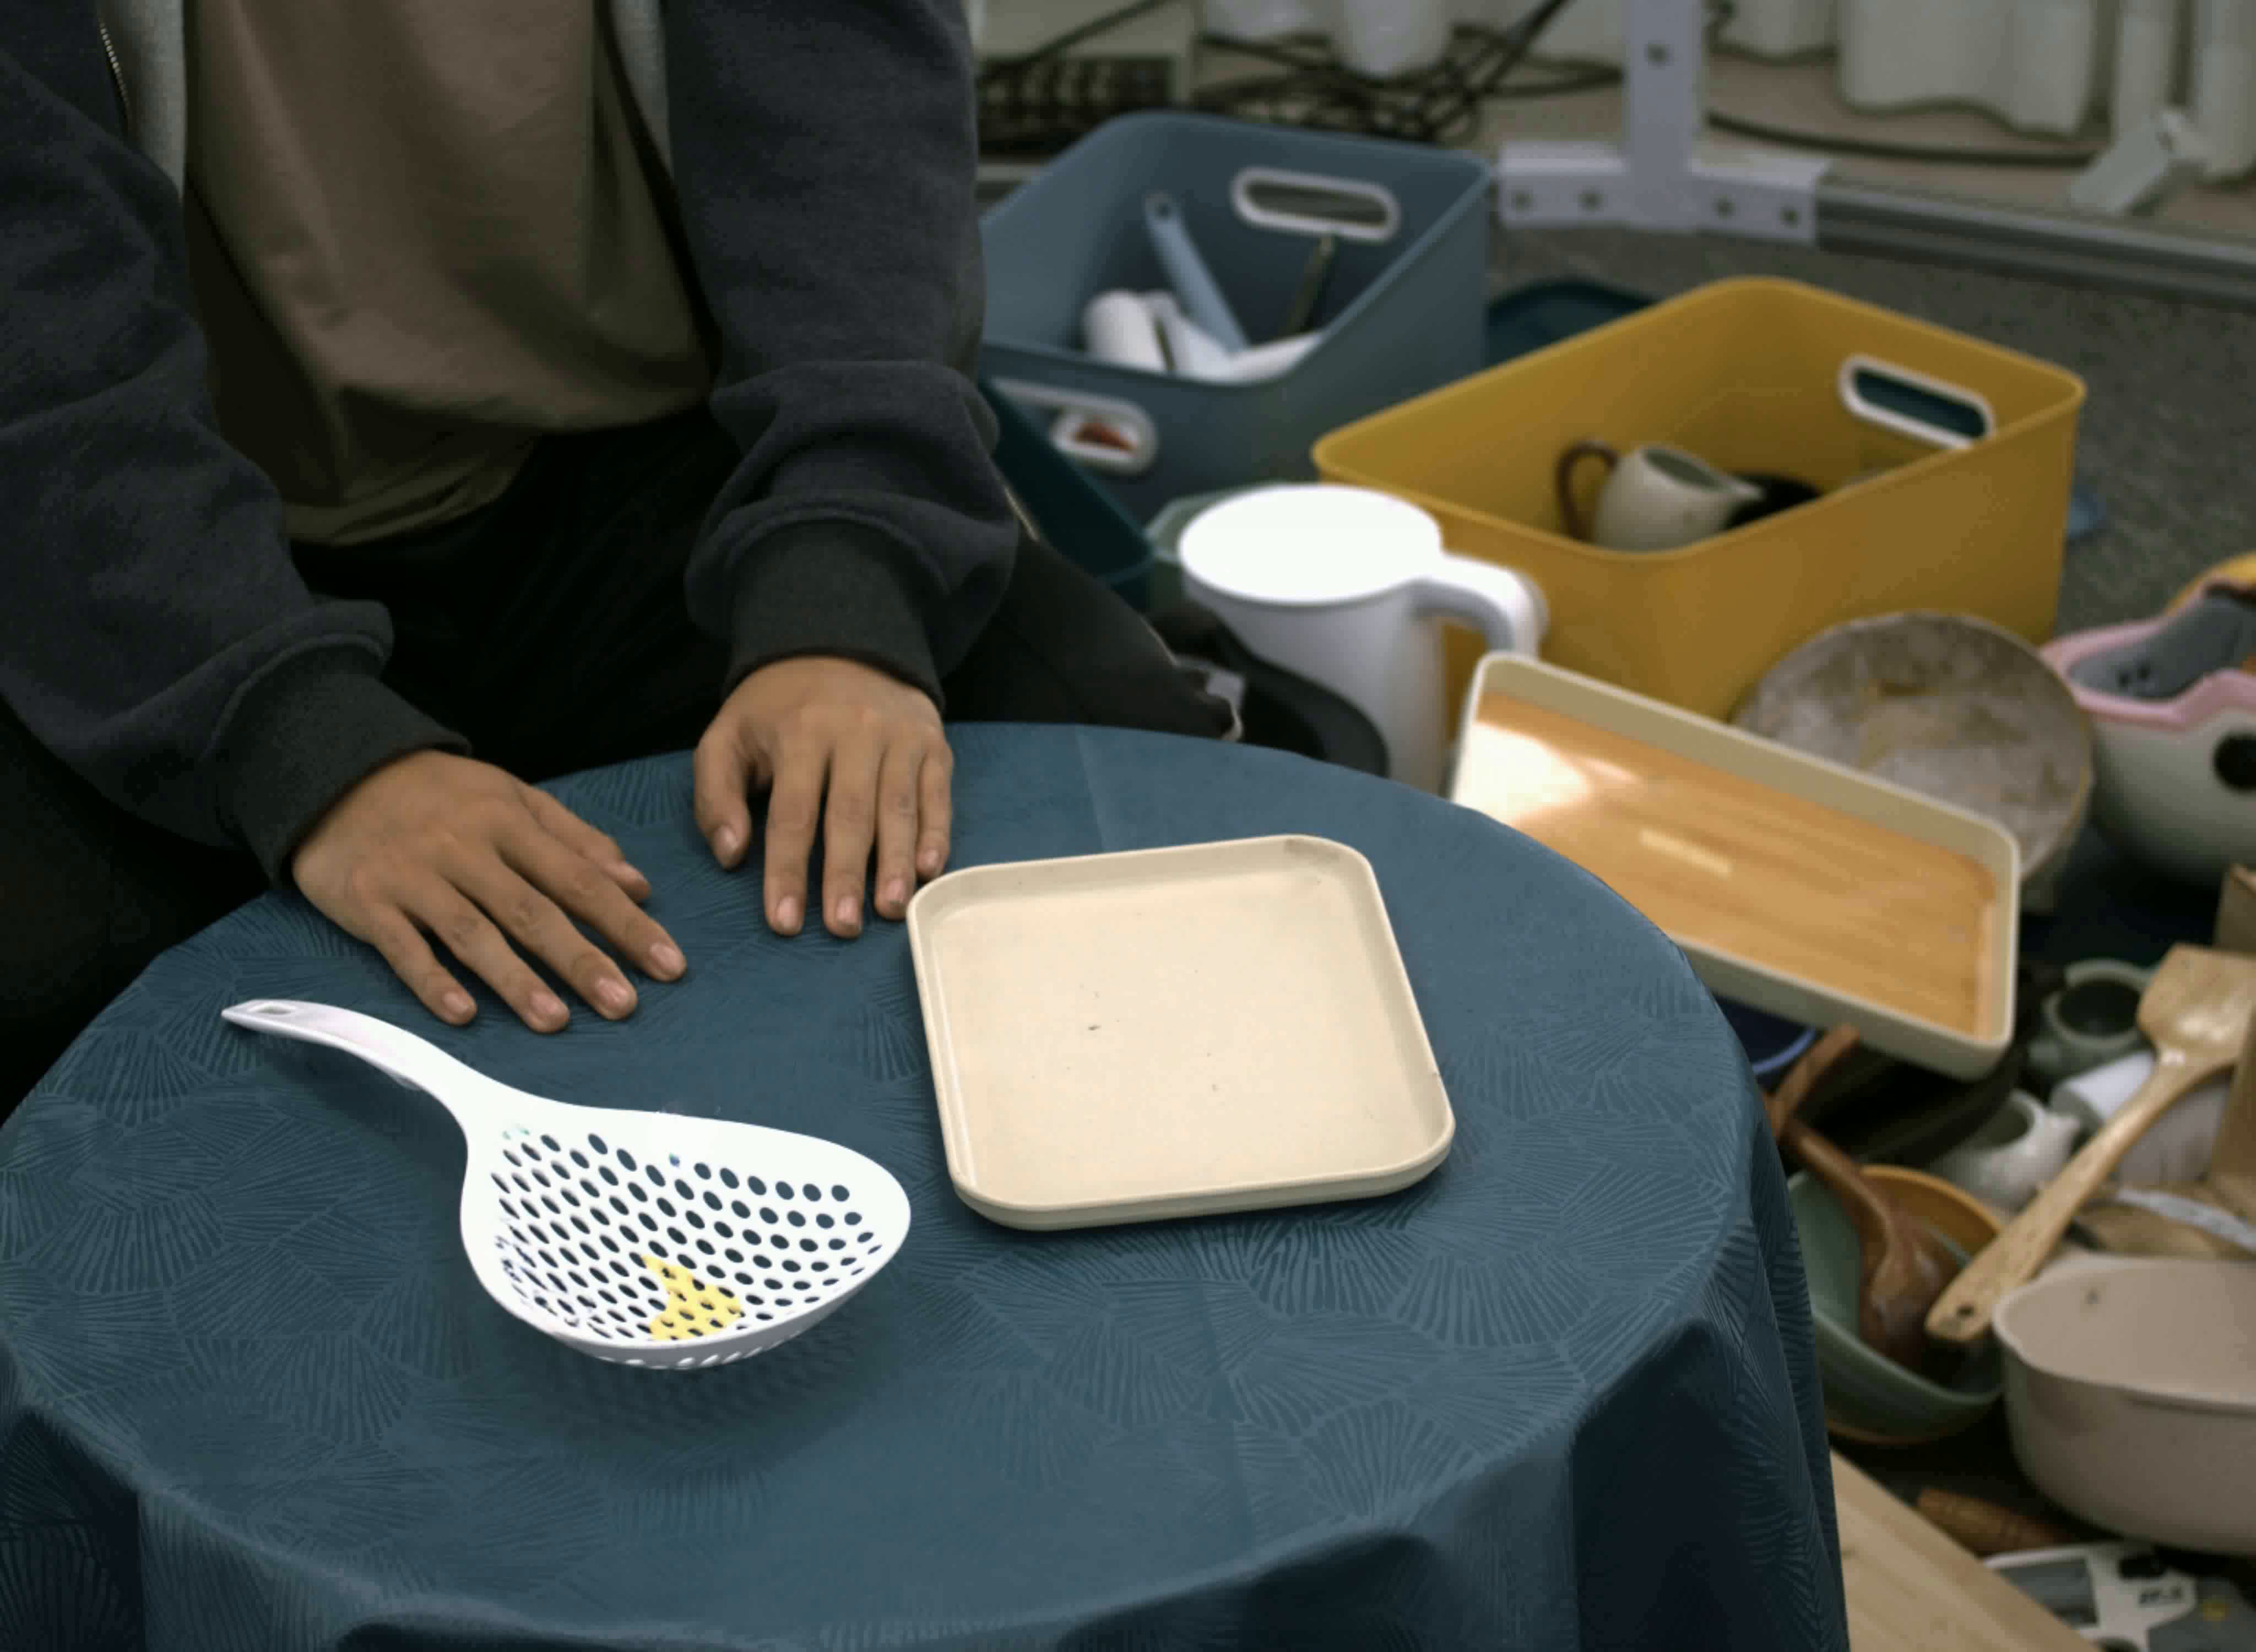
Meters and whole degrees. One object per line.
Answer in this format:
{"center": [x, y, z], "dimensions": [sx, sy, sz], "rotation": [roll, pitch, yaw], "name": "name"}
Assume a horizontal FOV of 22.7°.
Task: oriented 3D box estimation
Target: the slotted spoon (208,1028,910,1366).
{"center": [-0.206, 0.108, 1.866], "dimensions": [0.138, 0.050, 0.348], "rotation": [-27, 35, -32], "name": "slotted spoon"}

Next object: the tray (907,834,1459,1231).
{"center": [0.016, 0.070, 1.941], "dimensions": [0.171, 0.017, 0.243], "rotation": [-6, 27, -4], "name": "tray"}
